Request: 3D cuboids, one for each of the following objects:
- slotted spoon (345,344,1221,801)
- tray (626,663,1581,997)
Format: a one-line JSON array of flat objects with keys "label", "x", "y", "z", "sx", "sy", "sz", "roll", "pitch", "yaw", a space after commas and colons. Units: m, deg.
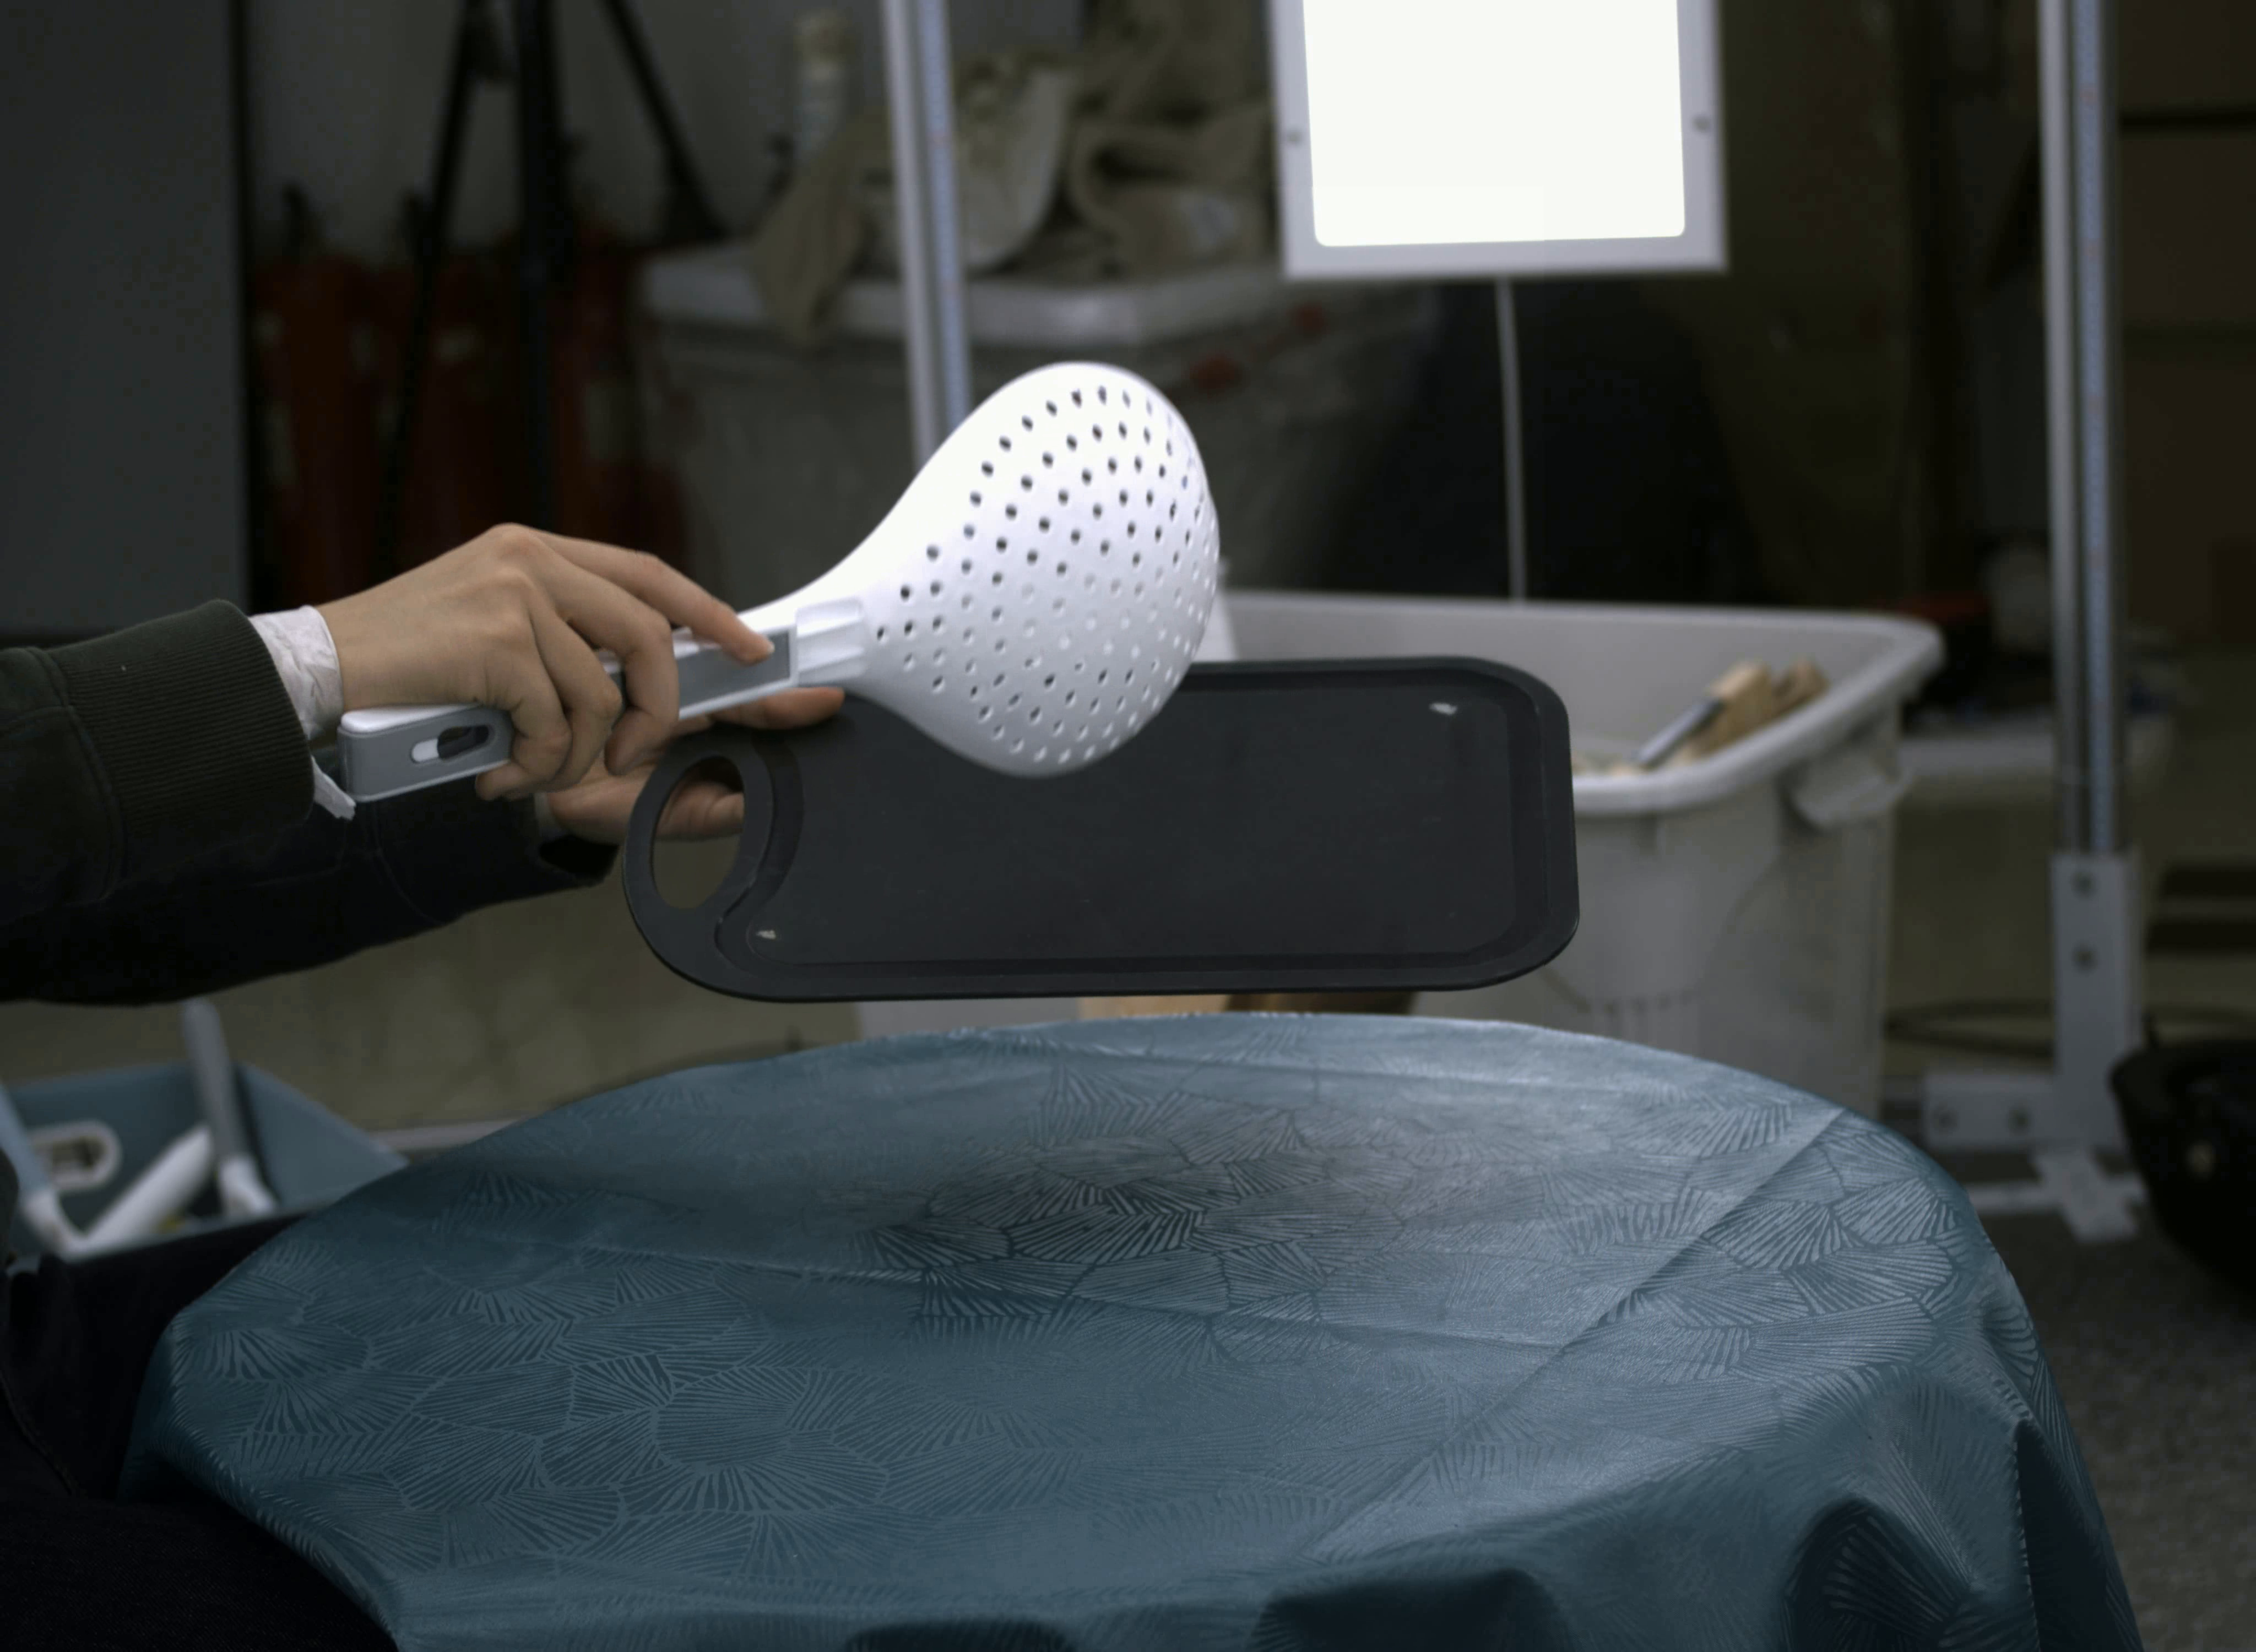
[{"label": "slotted spoon", "x": -0.097, "y": -0.062, "z": 1.723, "sx": 0.341, "sy": 0.136, "sz": 0.046, "roll": -16, "pitch": 21, "yaw": -32}, {"label": "tray", "x": -0.009, "y": -0.002, "z": 1.872, "sx": 0.326, "sy": 0.010, "sz": 0.210, "roll": -1, "pitch": 31, "yaw": 6}]
